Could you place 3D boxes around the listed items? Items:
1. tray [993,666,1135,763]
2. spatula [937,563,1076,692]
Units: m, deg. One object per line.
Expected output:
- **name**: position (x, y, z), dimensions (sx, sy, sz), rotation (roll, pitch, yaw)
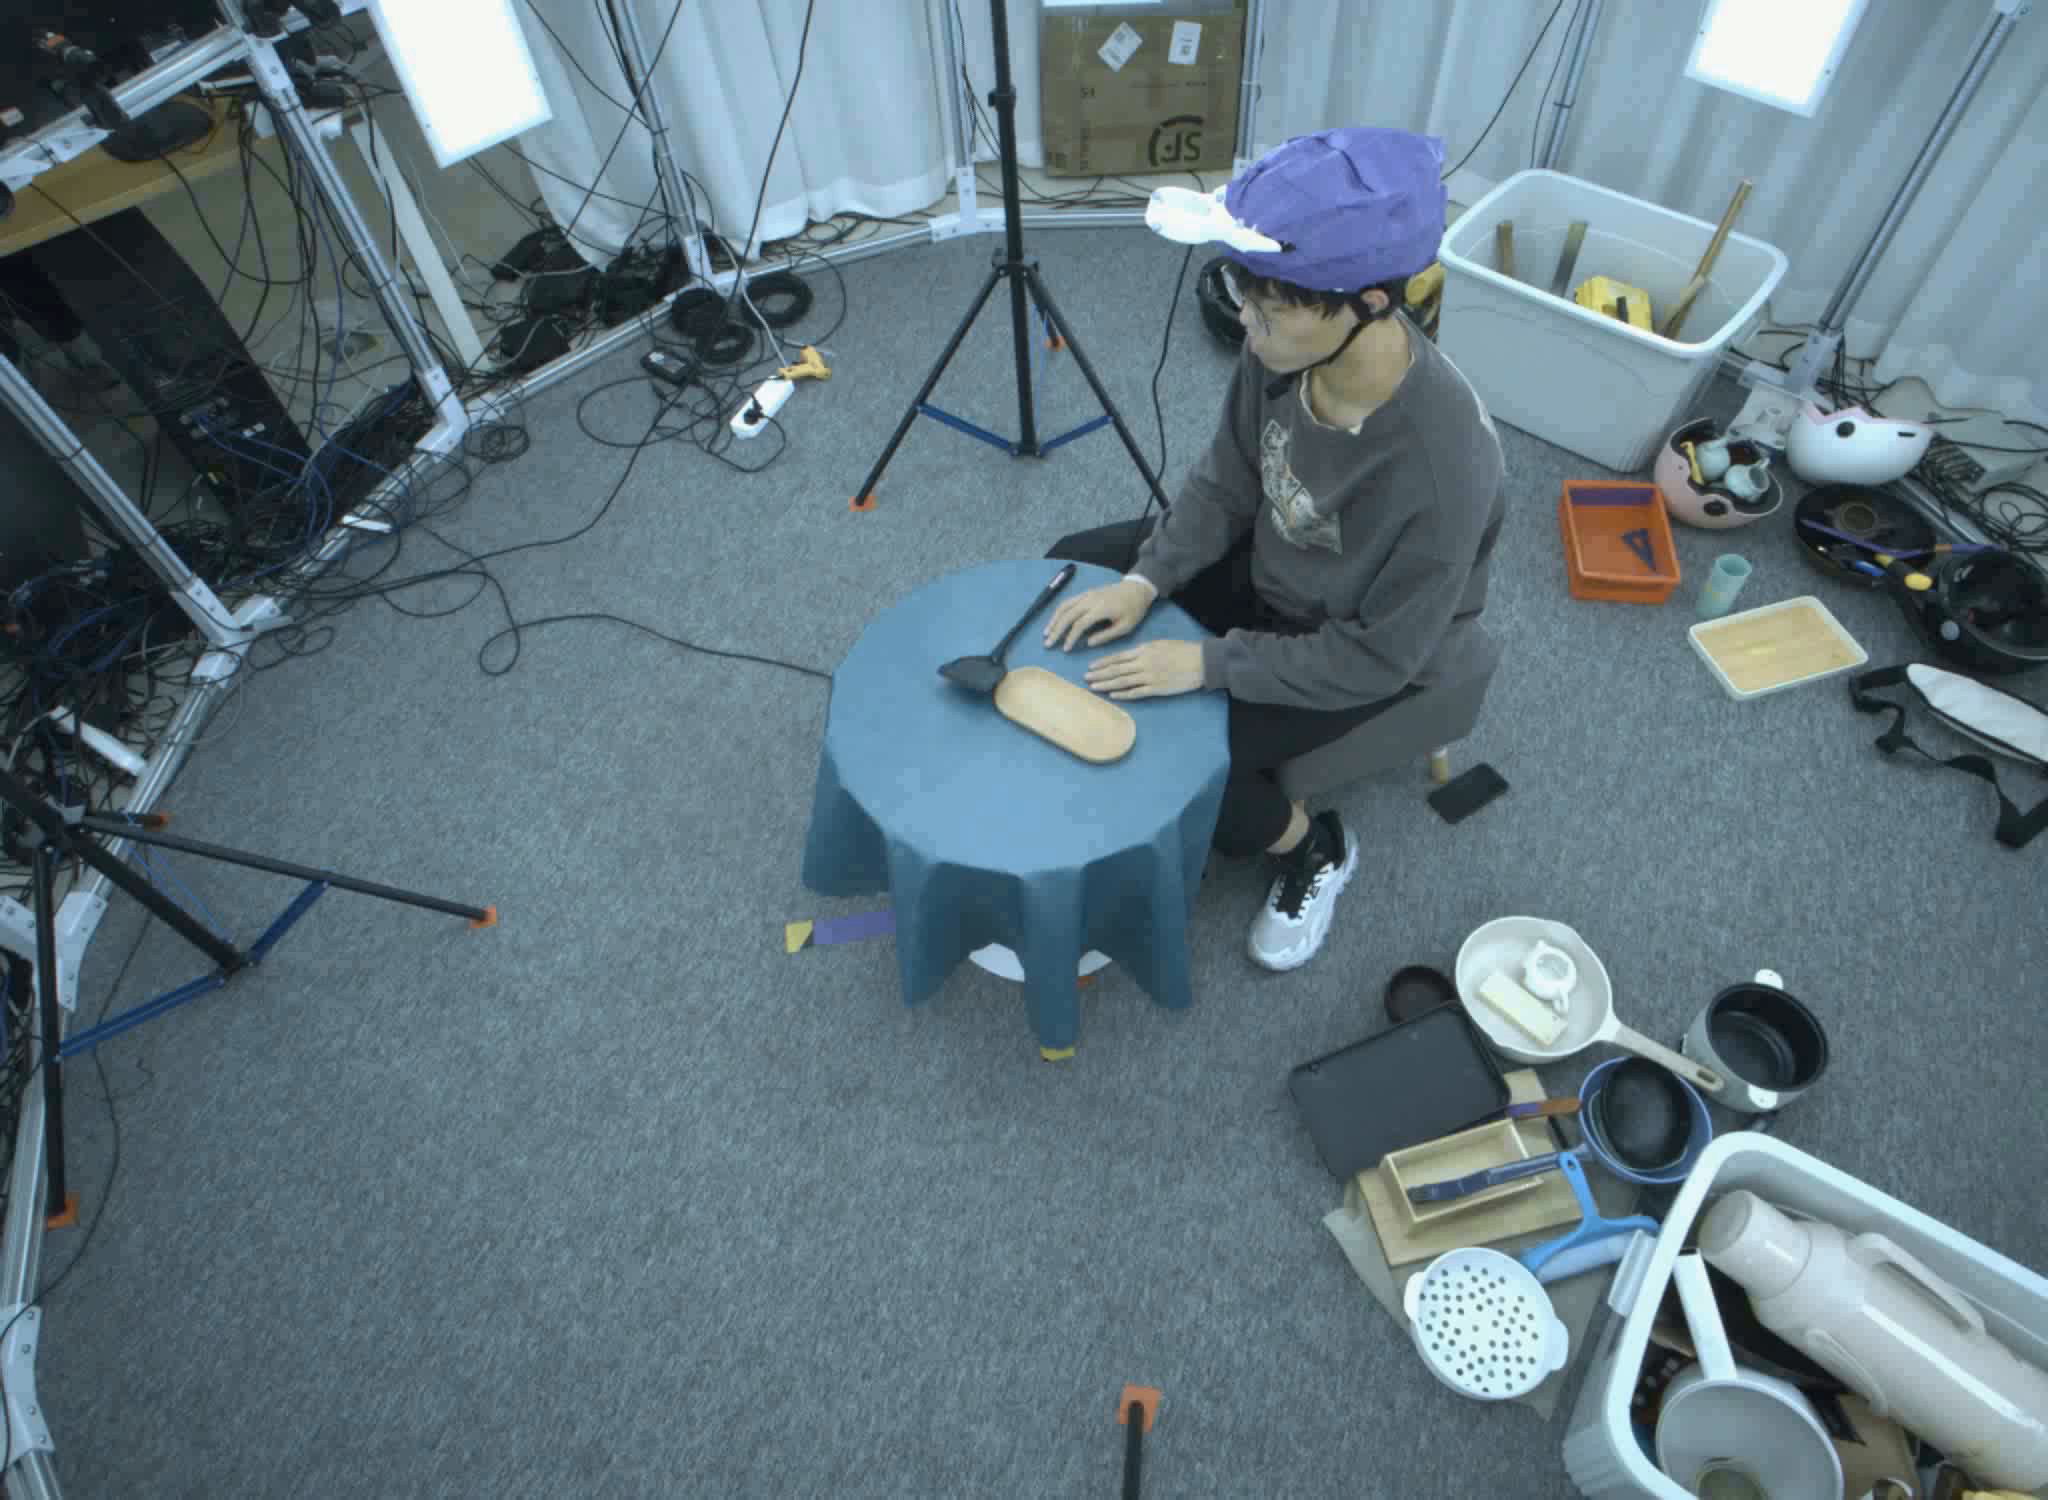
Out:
- **tray**: position (0.058, -0.053, 1.811), dimensions (0.227, 0.020, 0.102), rotation (28, 60, 22)
- **spatula**: position (-0.008, -0.199, 1.906), dimensions (0.098, 0.041, 0.327), rotation (23, 58, 24)
